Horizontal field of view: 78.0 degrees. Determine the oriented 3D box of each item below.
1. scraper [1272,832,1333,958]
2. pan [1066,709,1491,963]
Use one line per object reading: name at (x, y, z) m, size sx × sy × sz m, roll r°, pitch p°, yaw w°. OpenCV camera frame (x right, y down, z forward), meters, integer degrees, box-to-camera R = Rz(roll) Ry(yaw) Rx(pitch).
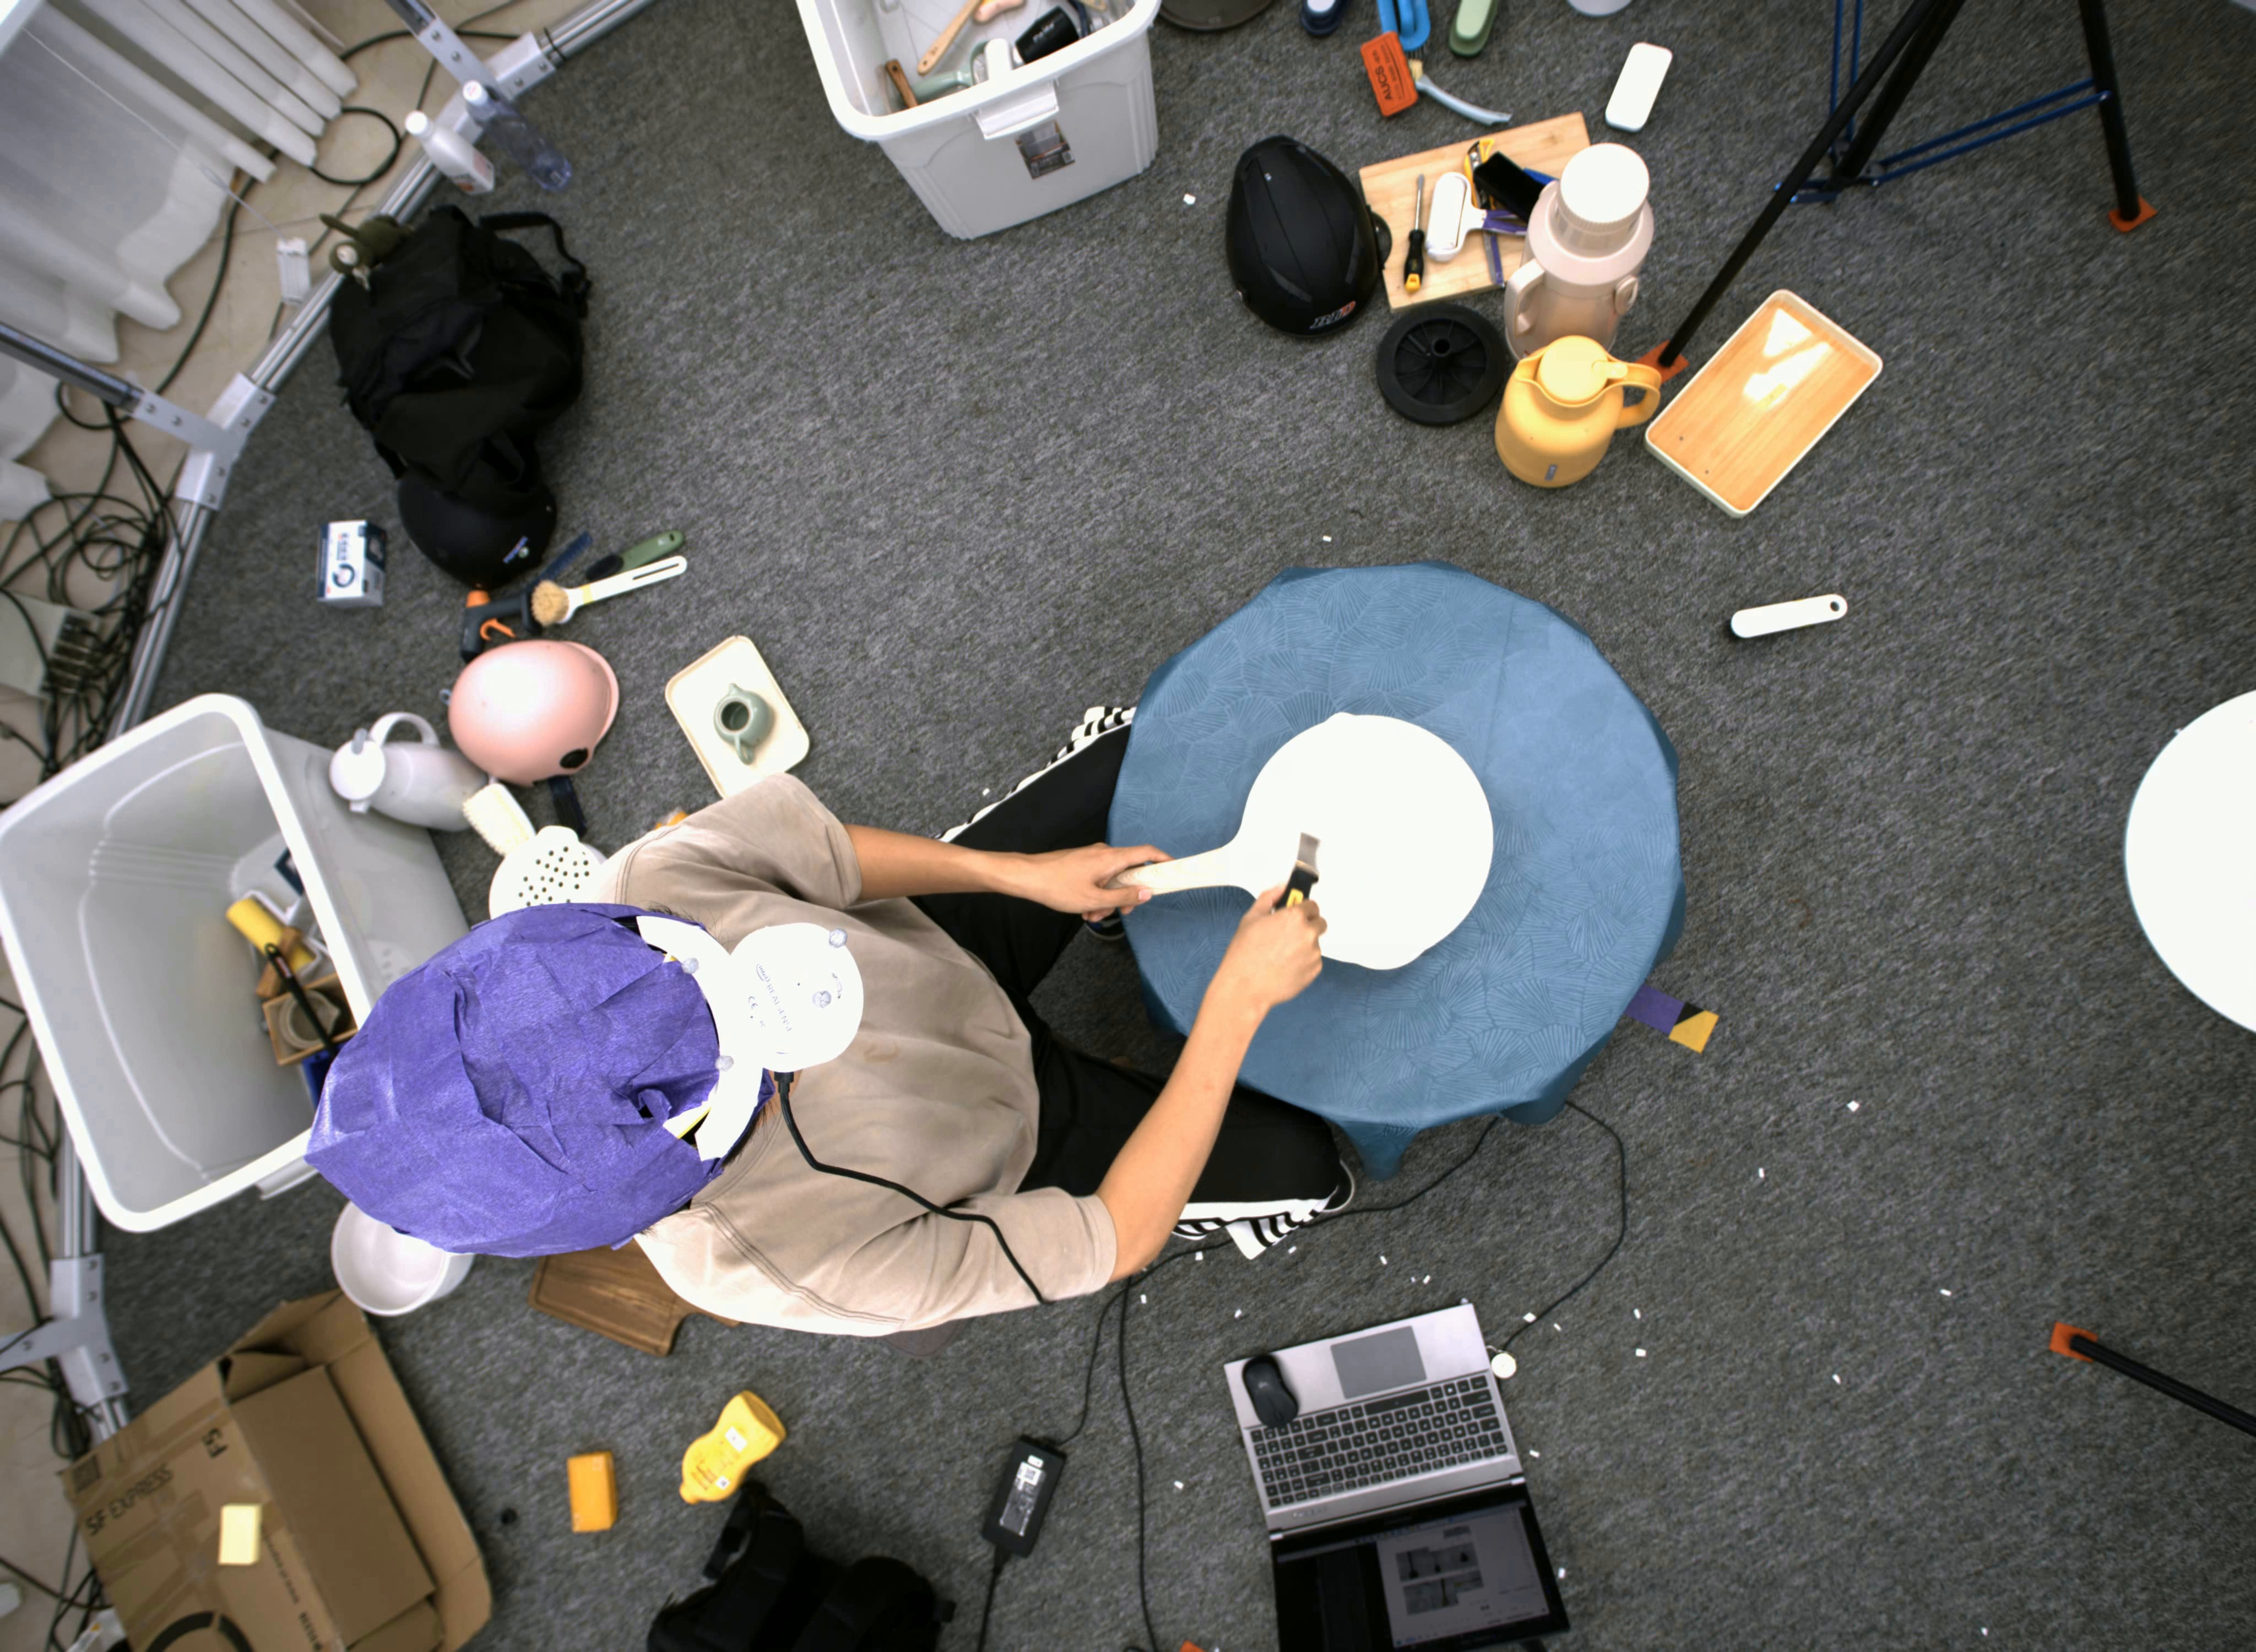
scraper at (0.171, 0.066, 1.360) m, size 0.039 × 0.166 × 0.015 m, roll 28°, pitch 134°, yaw -3°
pan at (0.154, 0.029, 1.438) m, size 0.437 × 0.102 × 0.262 m, roll -12°, pitch 87°, yaw 10°
